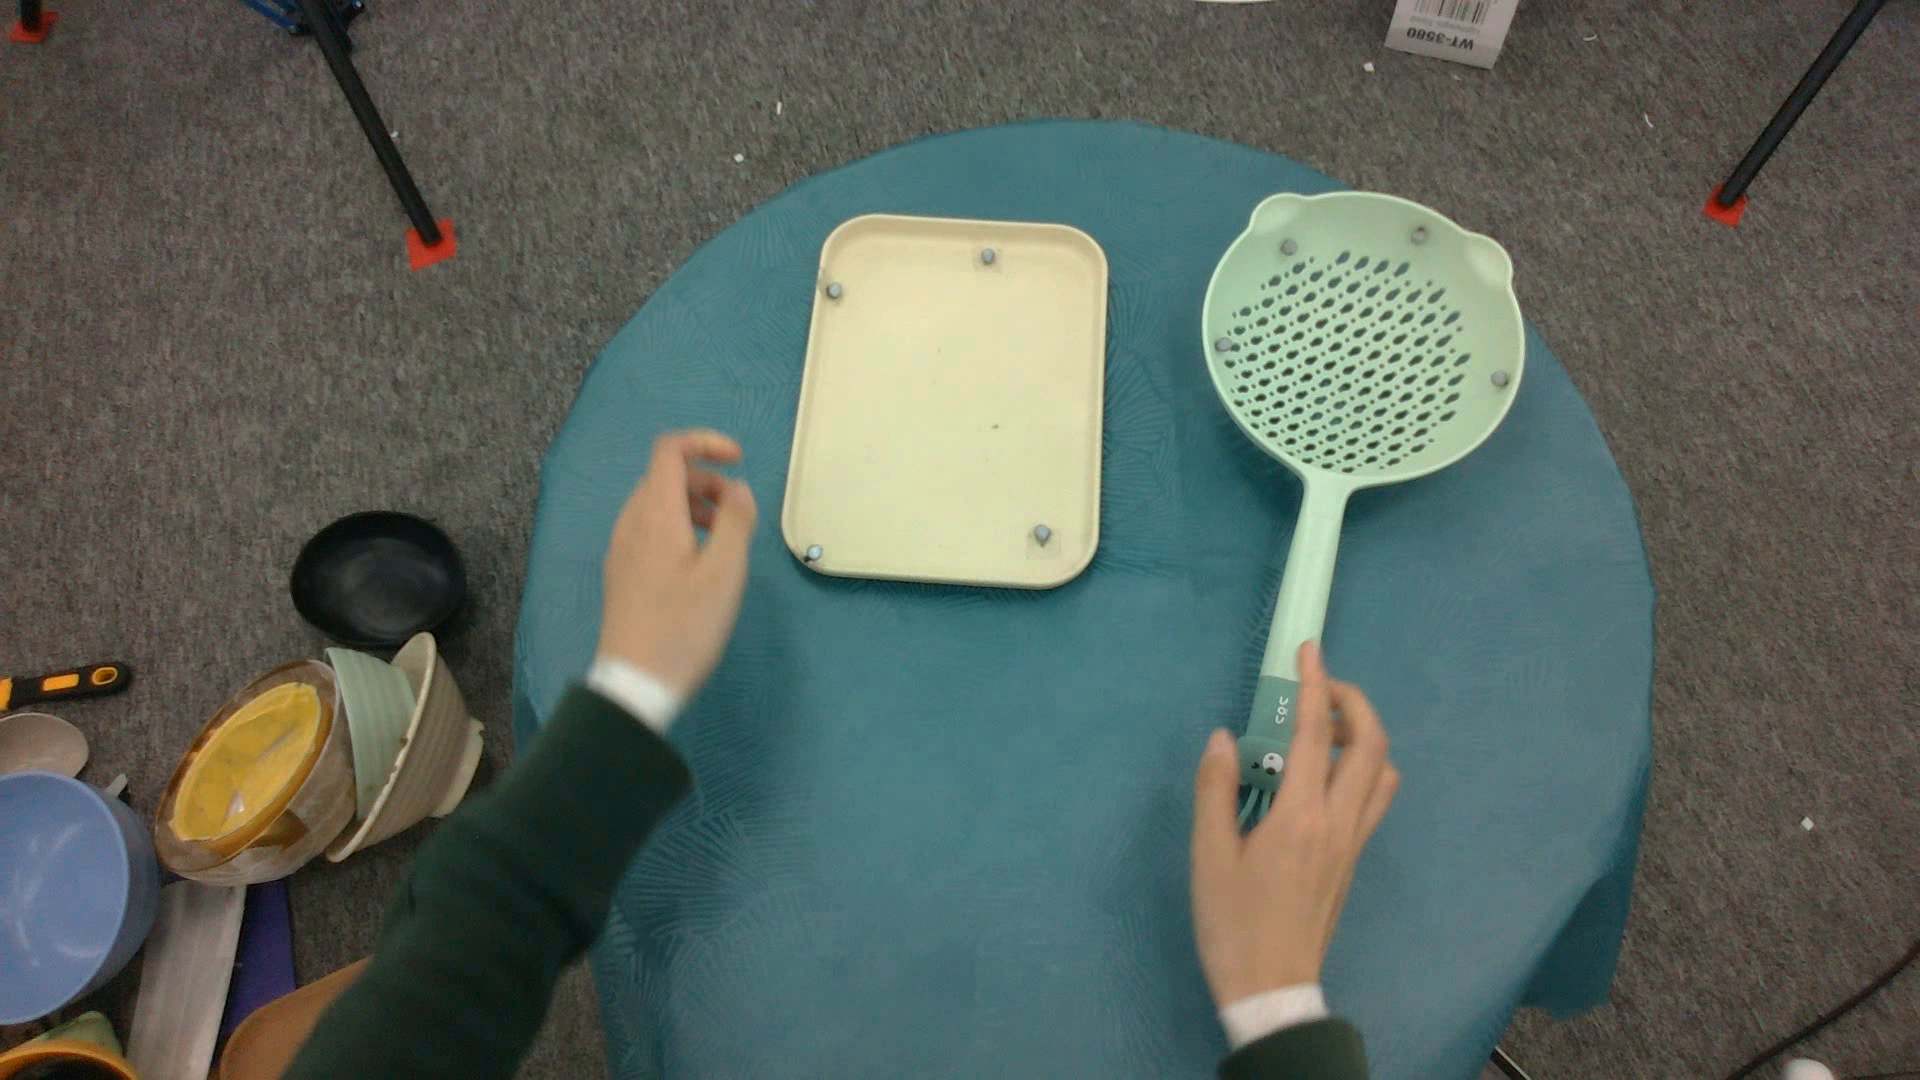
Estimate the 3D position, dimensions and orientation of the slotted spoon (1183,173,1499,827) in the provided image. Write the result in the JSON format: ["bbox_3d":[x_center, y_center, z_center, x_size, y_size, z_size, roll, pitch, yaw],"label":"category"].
[{"bbox_3d":[0.178,-0.030,0.719,0.169,0.075,0.360,15,64,6],"label":"slotted spoon"}]

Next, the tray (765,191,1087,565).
[{"bbox_3d":[-0.015,-0.095,0.776,0.171,0.017,0.240,3,64,1],"label":"tray"}]
